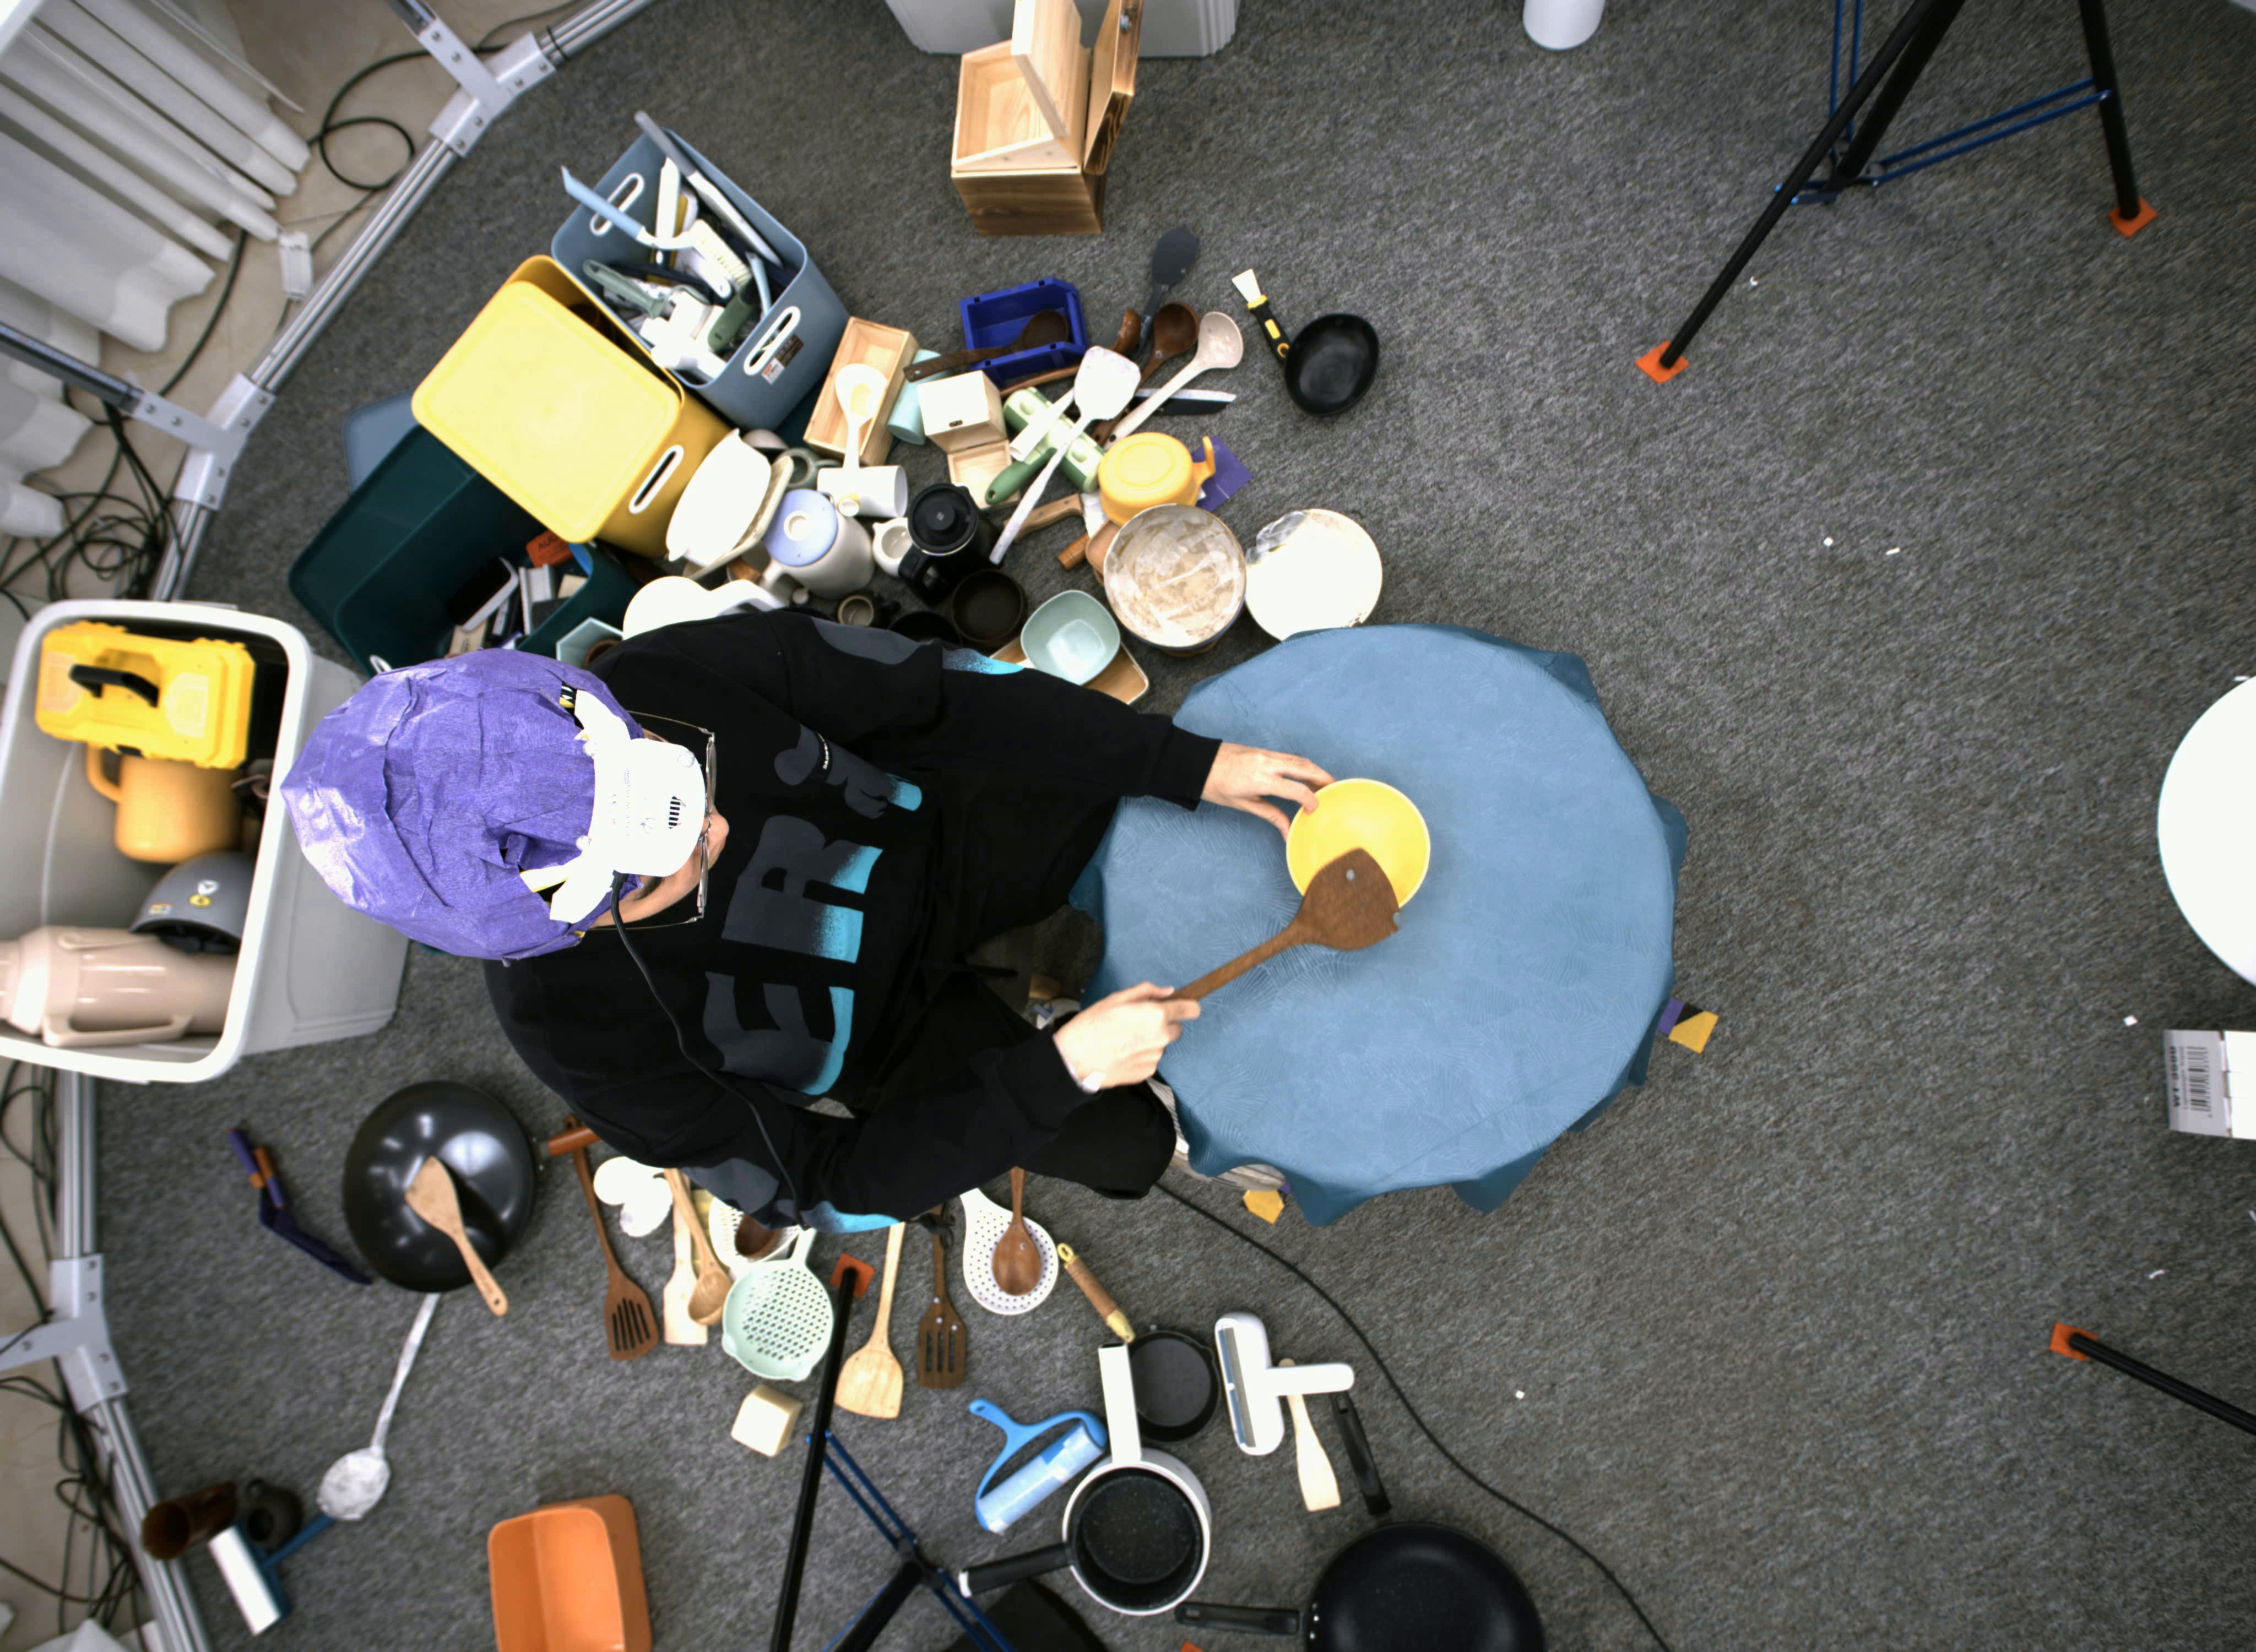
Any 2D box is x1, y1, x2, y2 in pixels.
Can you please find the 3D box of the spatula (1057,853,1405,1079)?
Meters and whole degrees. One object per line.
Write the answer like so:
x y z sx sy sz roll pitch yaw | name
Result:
0.101 0.142 1.318 0.382 0.016 0.096 -27 91 -18 | spatula

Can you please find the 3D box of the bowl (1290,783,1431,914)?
0.241 0.028 1.435 0.146 0.060 0.145 0 89 10 | bowl
